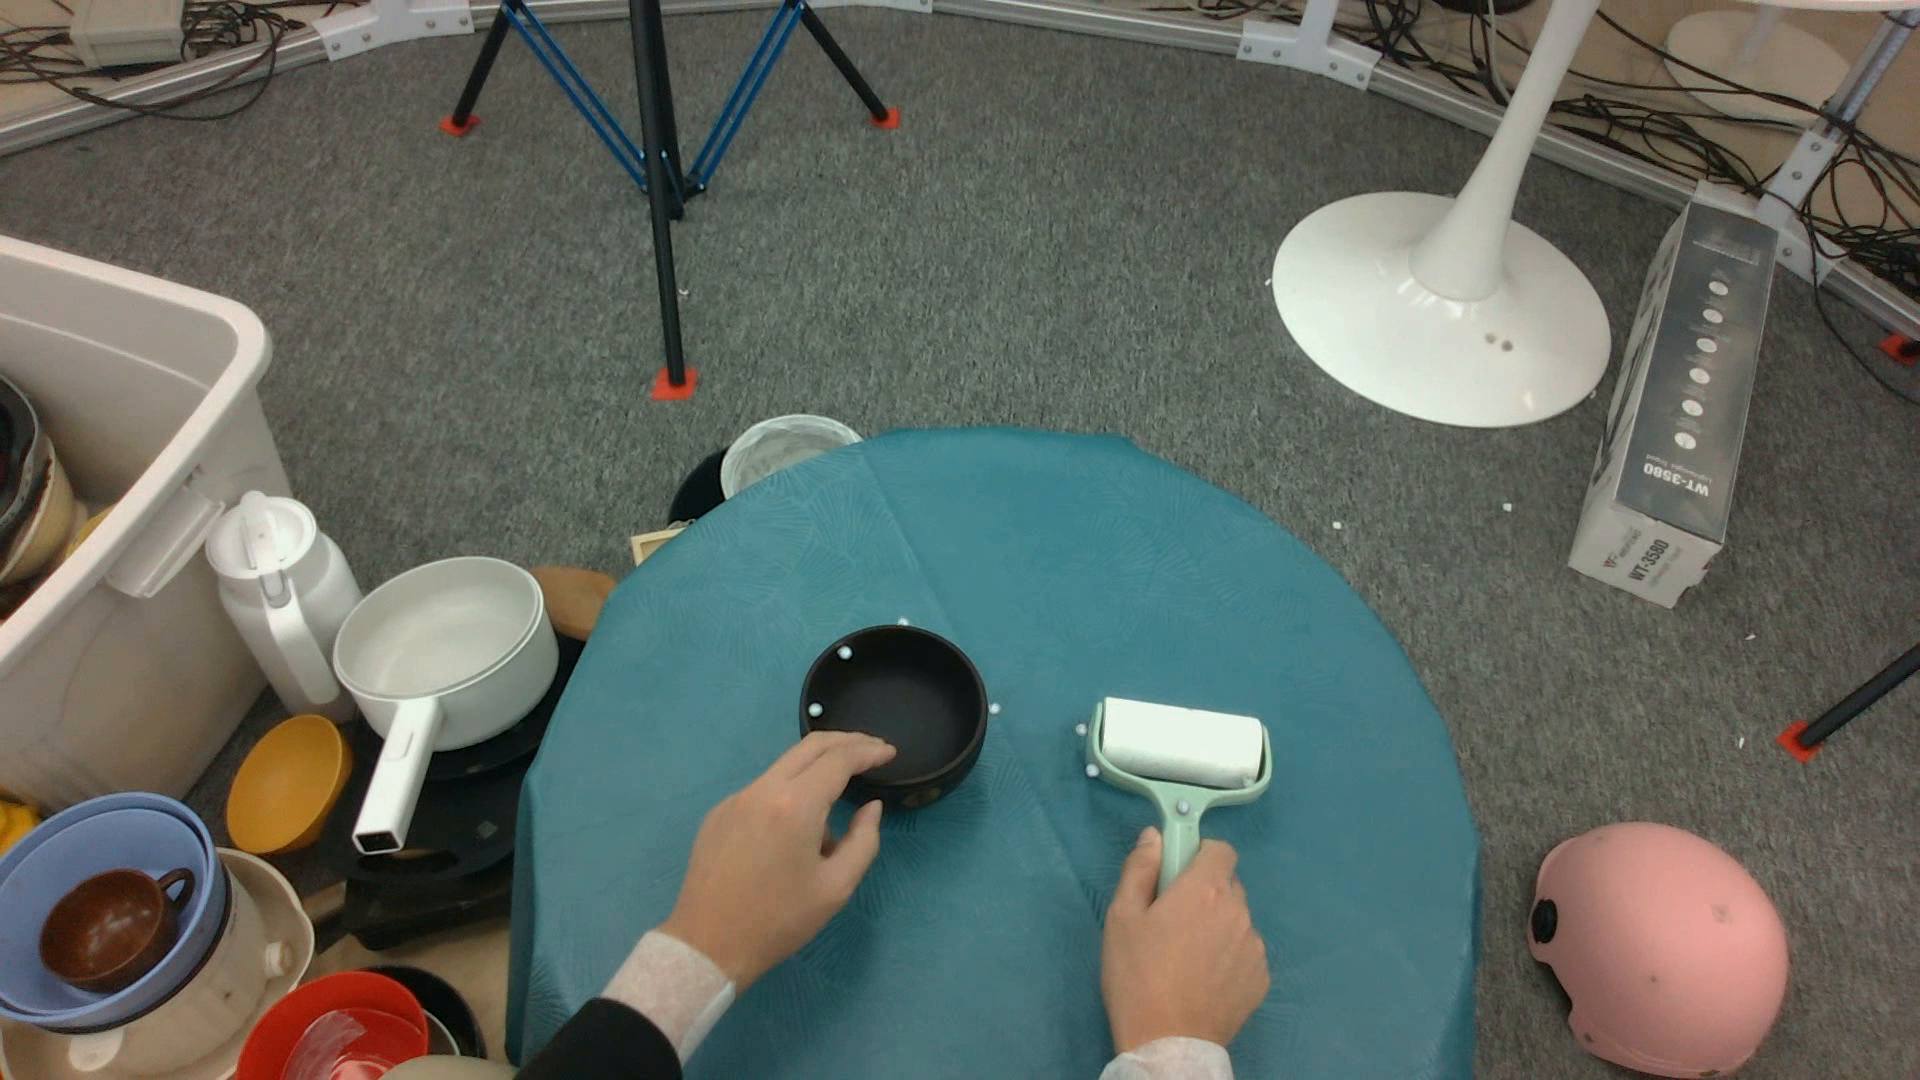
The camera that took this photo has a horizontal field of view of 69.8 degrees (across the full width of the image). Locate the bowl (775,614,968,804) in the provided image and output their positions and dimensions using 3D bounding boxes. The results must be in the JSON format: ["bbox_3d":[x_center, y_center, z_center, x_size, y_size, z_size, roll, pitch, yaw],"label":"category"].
[{"bbox_3d":[-0.056,0.112,0.862,0.118,0.069,0.118,3,53,-4],"label":"bowl"}]

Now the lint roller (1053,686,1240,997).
[{"bbox_3d":[0.112,0.176,0.836,0.116,0.048,0.198,8,46,-1],"label":"lint roller"}]
